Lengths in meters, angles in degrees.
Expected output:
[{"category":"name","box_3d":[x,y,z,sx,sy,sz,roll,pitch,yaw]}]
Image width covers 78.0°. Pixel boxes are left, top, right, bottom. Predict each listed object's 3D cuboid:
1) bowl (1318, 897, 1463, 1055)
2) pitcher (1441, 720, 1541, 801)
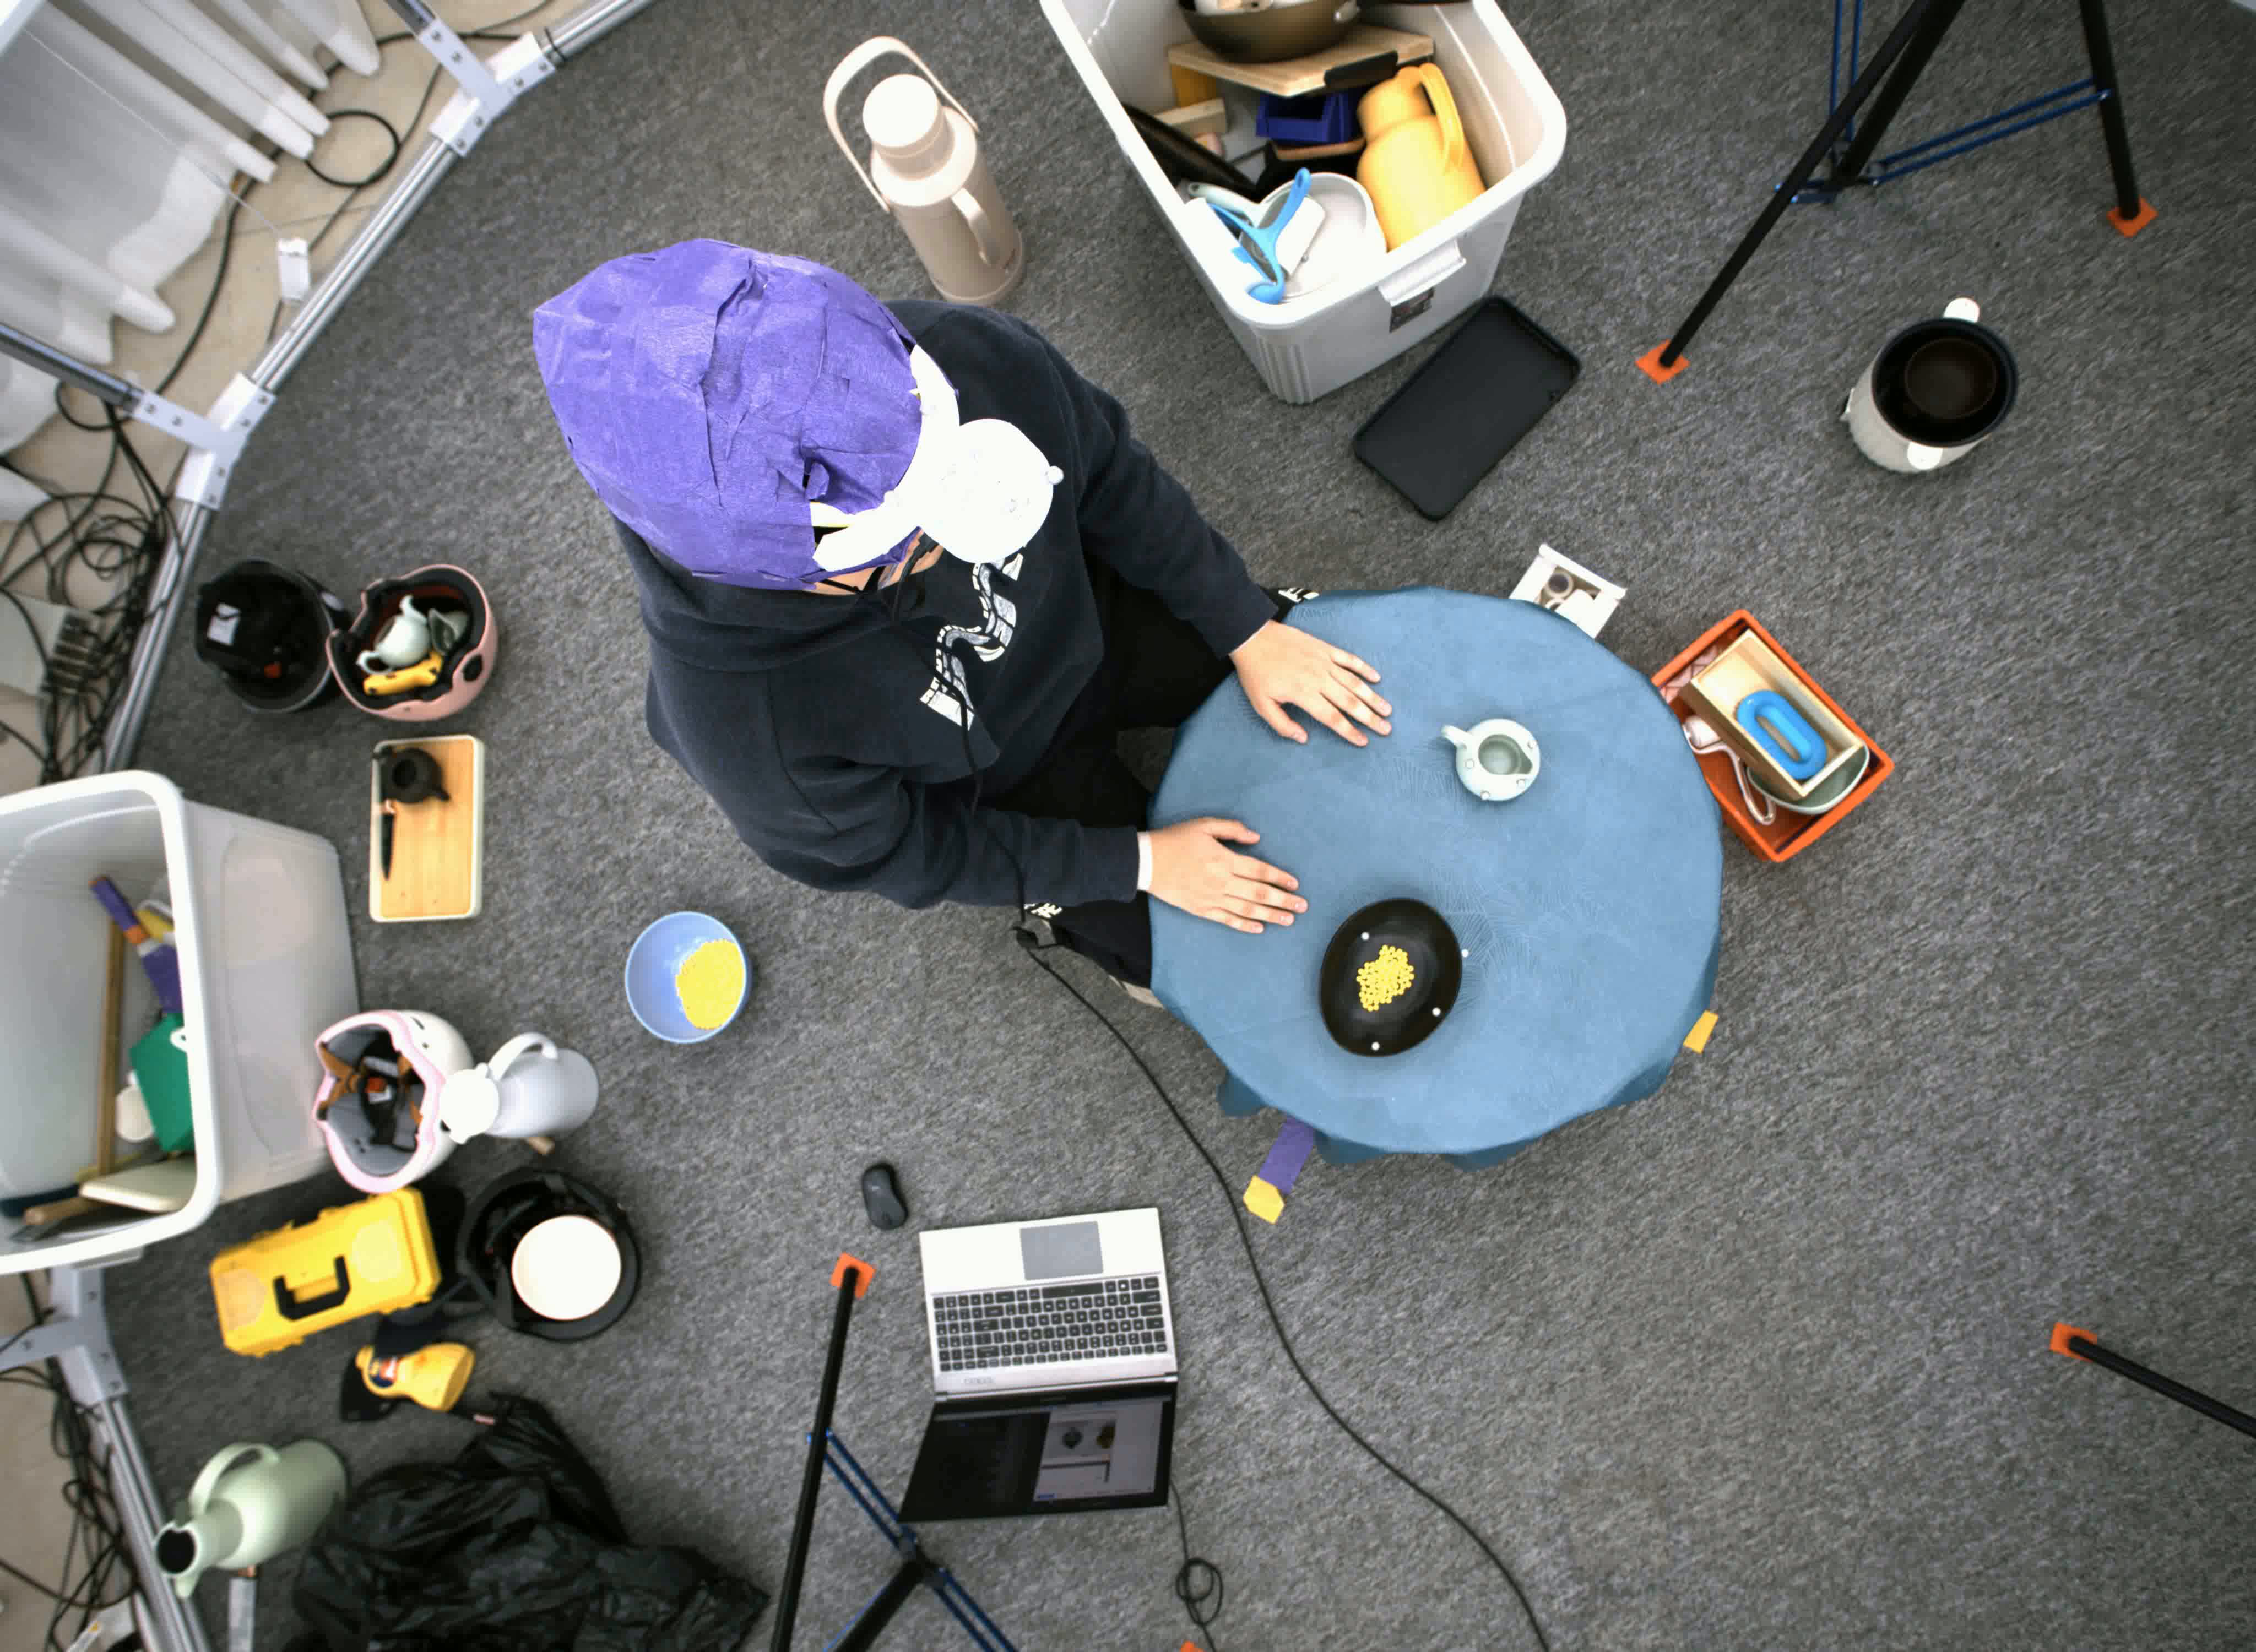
[{"category":"bowl","box_3d":[0.269,0.154,1.424,0.137,0.066,0.170,28,92,12]},{"category":"pitcher","box_3d":[0.374,-0.076,1.422,0.108,0.060,0.086,25,90,13]}]
